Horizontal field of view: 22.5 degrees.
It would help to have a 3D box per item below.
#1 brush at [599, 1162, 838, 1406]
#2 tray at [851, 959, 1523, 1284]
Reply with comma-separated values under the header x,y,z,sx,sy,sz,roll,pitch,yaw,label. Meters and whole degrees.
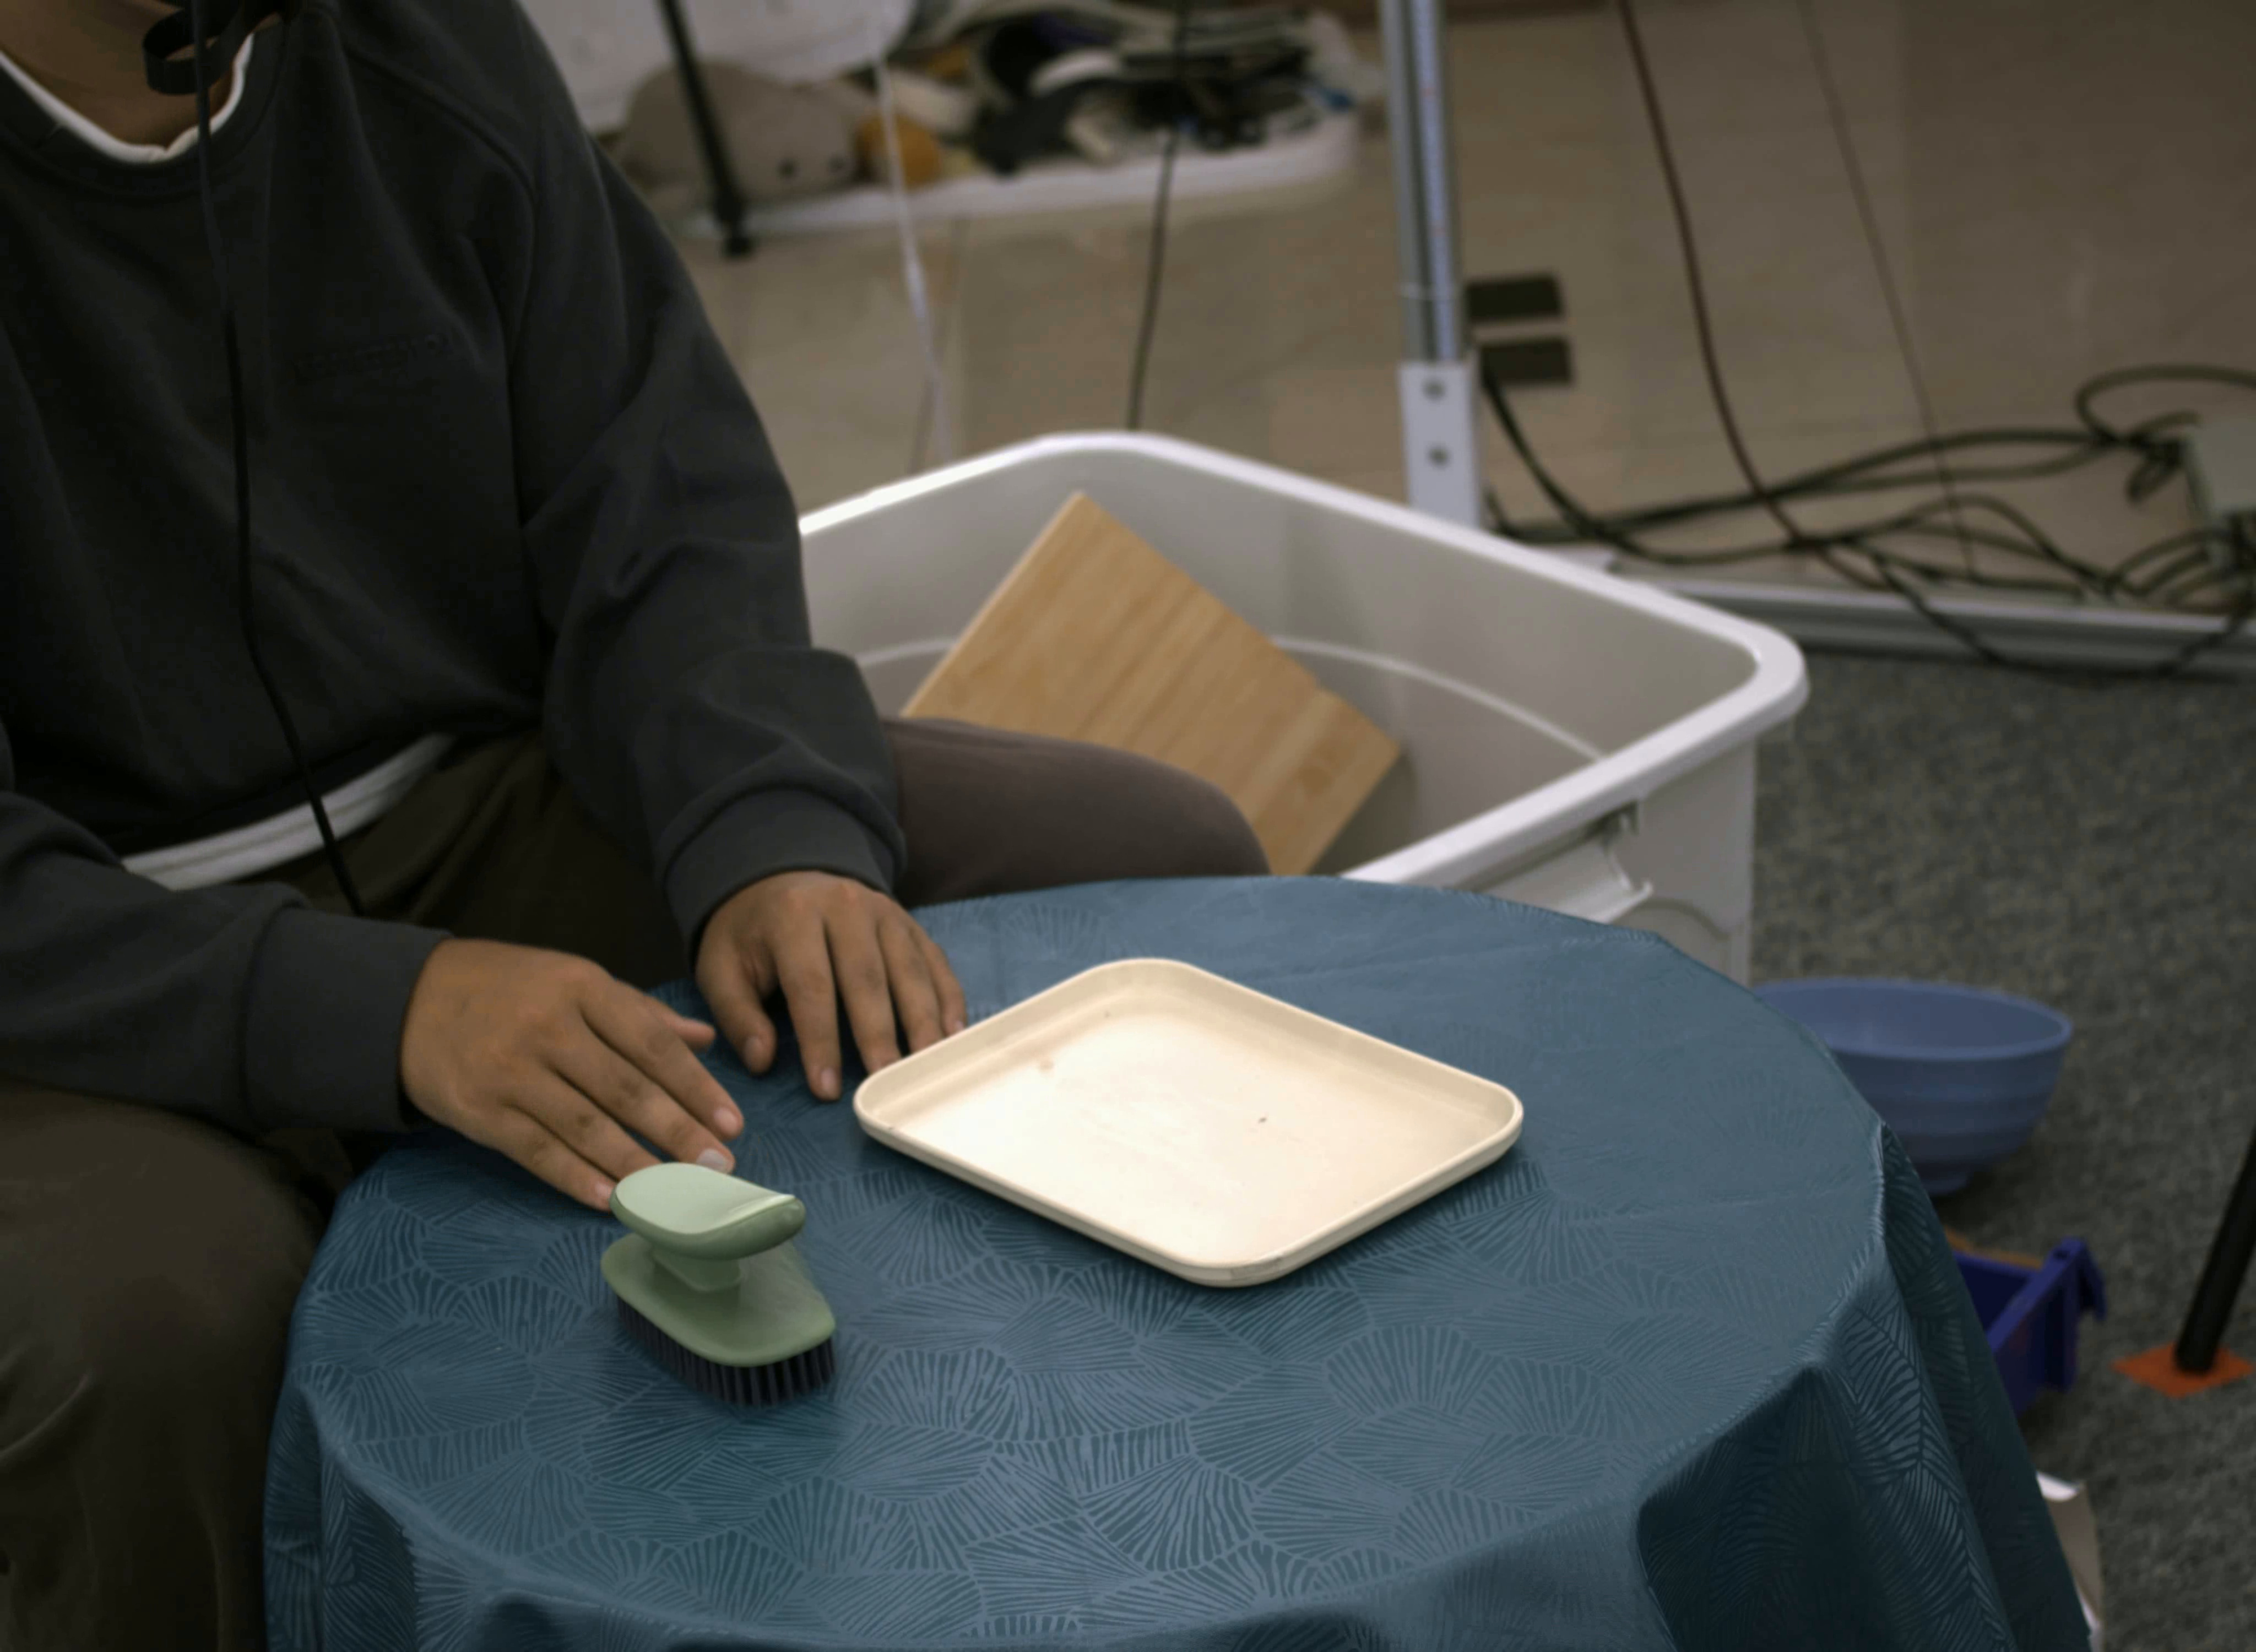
x,y,z,sx,sy,sz,roll,pitch,yaw,label
-0.149,0.164,2.065,0.059,0.076,0.122,-19,14,-28,brush
0.021,0.113,2.178,0.170,0.018,0.237,-24,30,-35,tray
